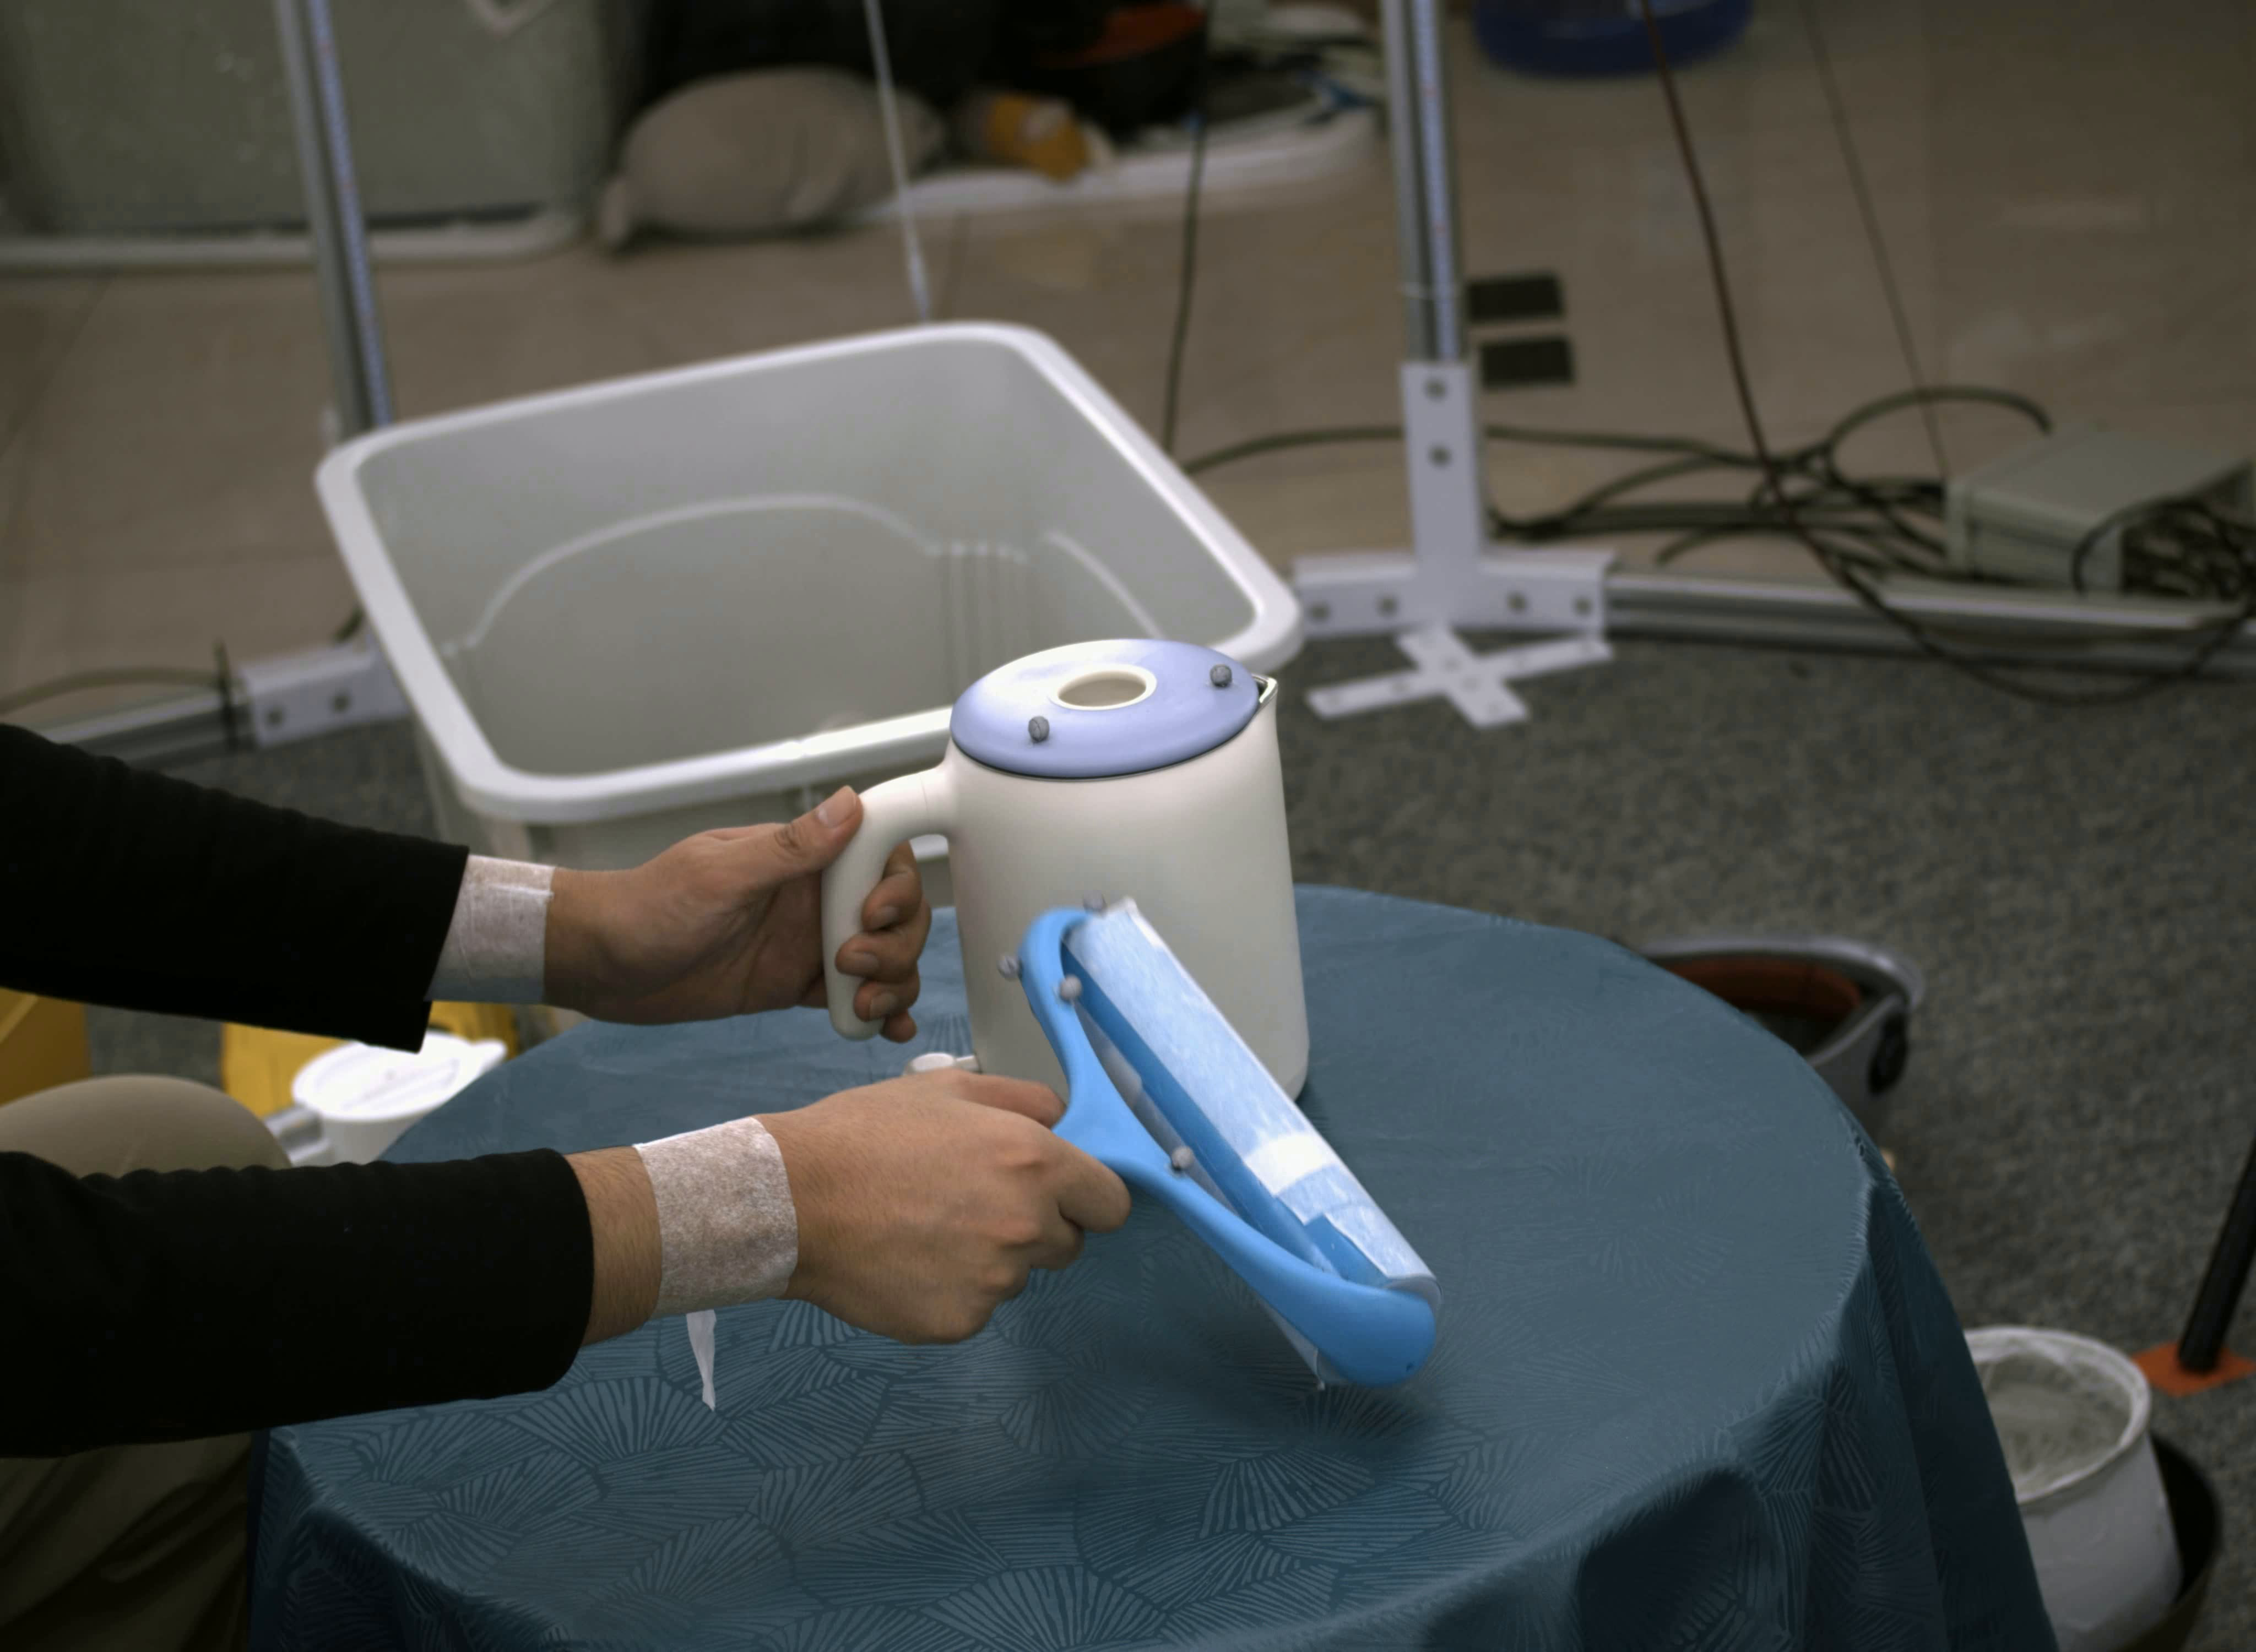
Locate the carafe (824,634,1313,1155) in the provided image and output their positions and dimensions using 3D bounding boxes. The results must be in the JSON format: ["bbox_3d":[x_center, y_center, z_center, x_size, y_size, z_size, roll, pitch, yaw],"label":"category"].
[{"bbox_3d":[-0.024,0.034,2.173,0.190,0.185,0.130,-14,26,-10],"label":"carafe"}]

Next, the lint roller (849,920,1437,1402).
[{"bbox_3d":[-0.012,0.129,1.981,0.179,0.069,0.226,-15,51,-34],"label":"lint roller"}]
